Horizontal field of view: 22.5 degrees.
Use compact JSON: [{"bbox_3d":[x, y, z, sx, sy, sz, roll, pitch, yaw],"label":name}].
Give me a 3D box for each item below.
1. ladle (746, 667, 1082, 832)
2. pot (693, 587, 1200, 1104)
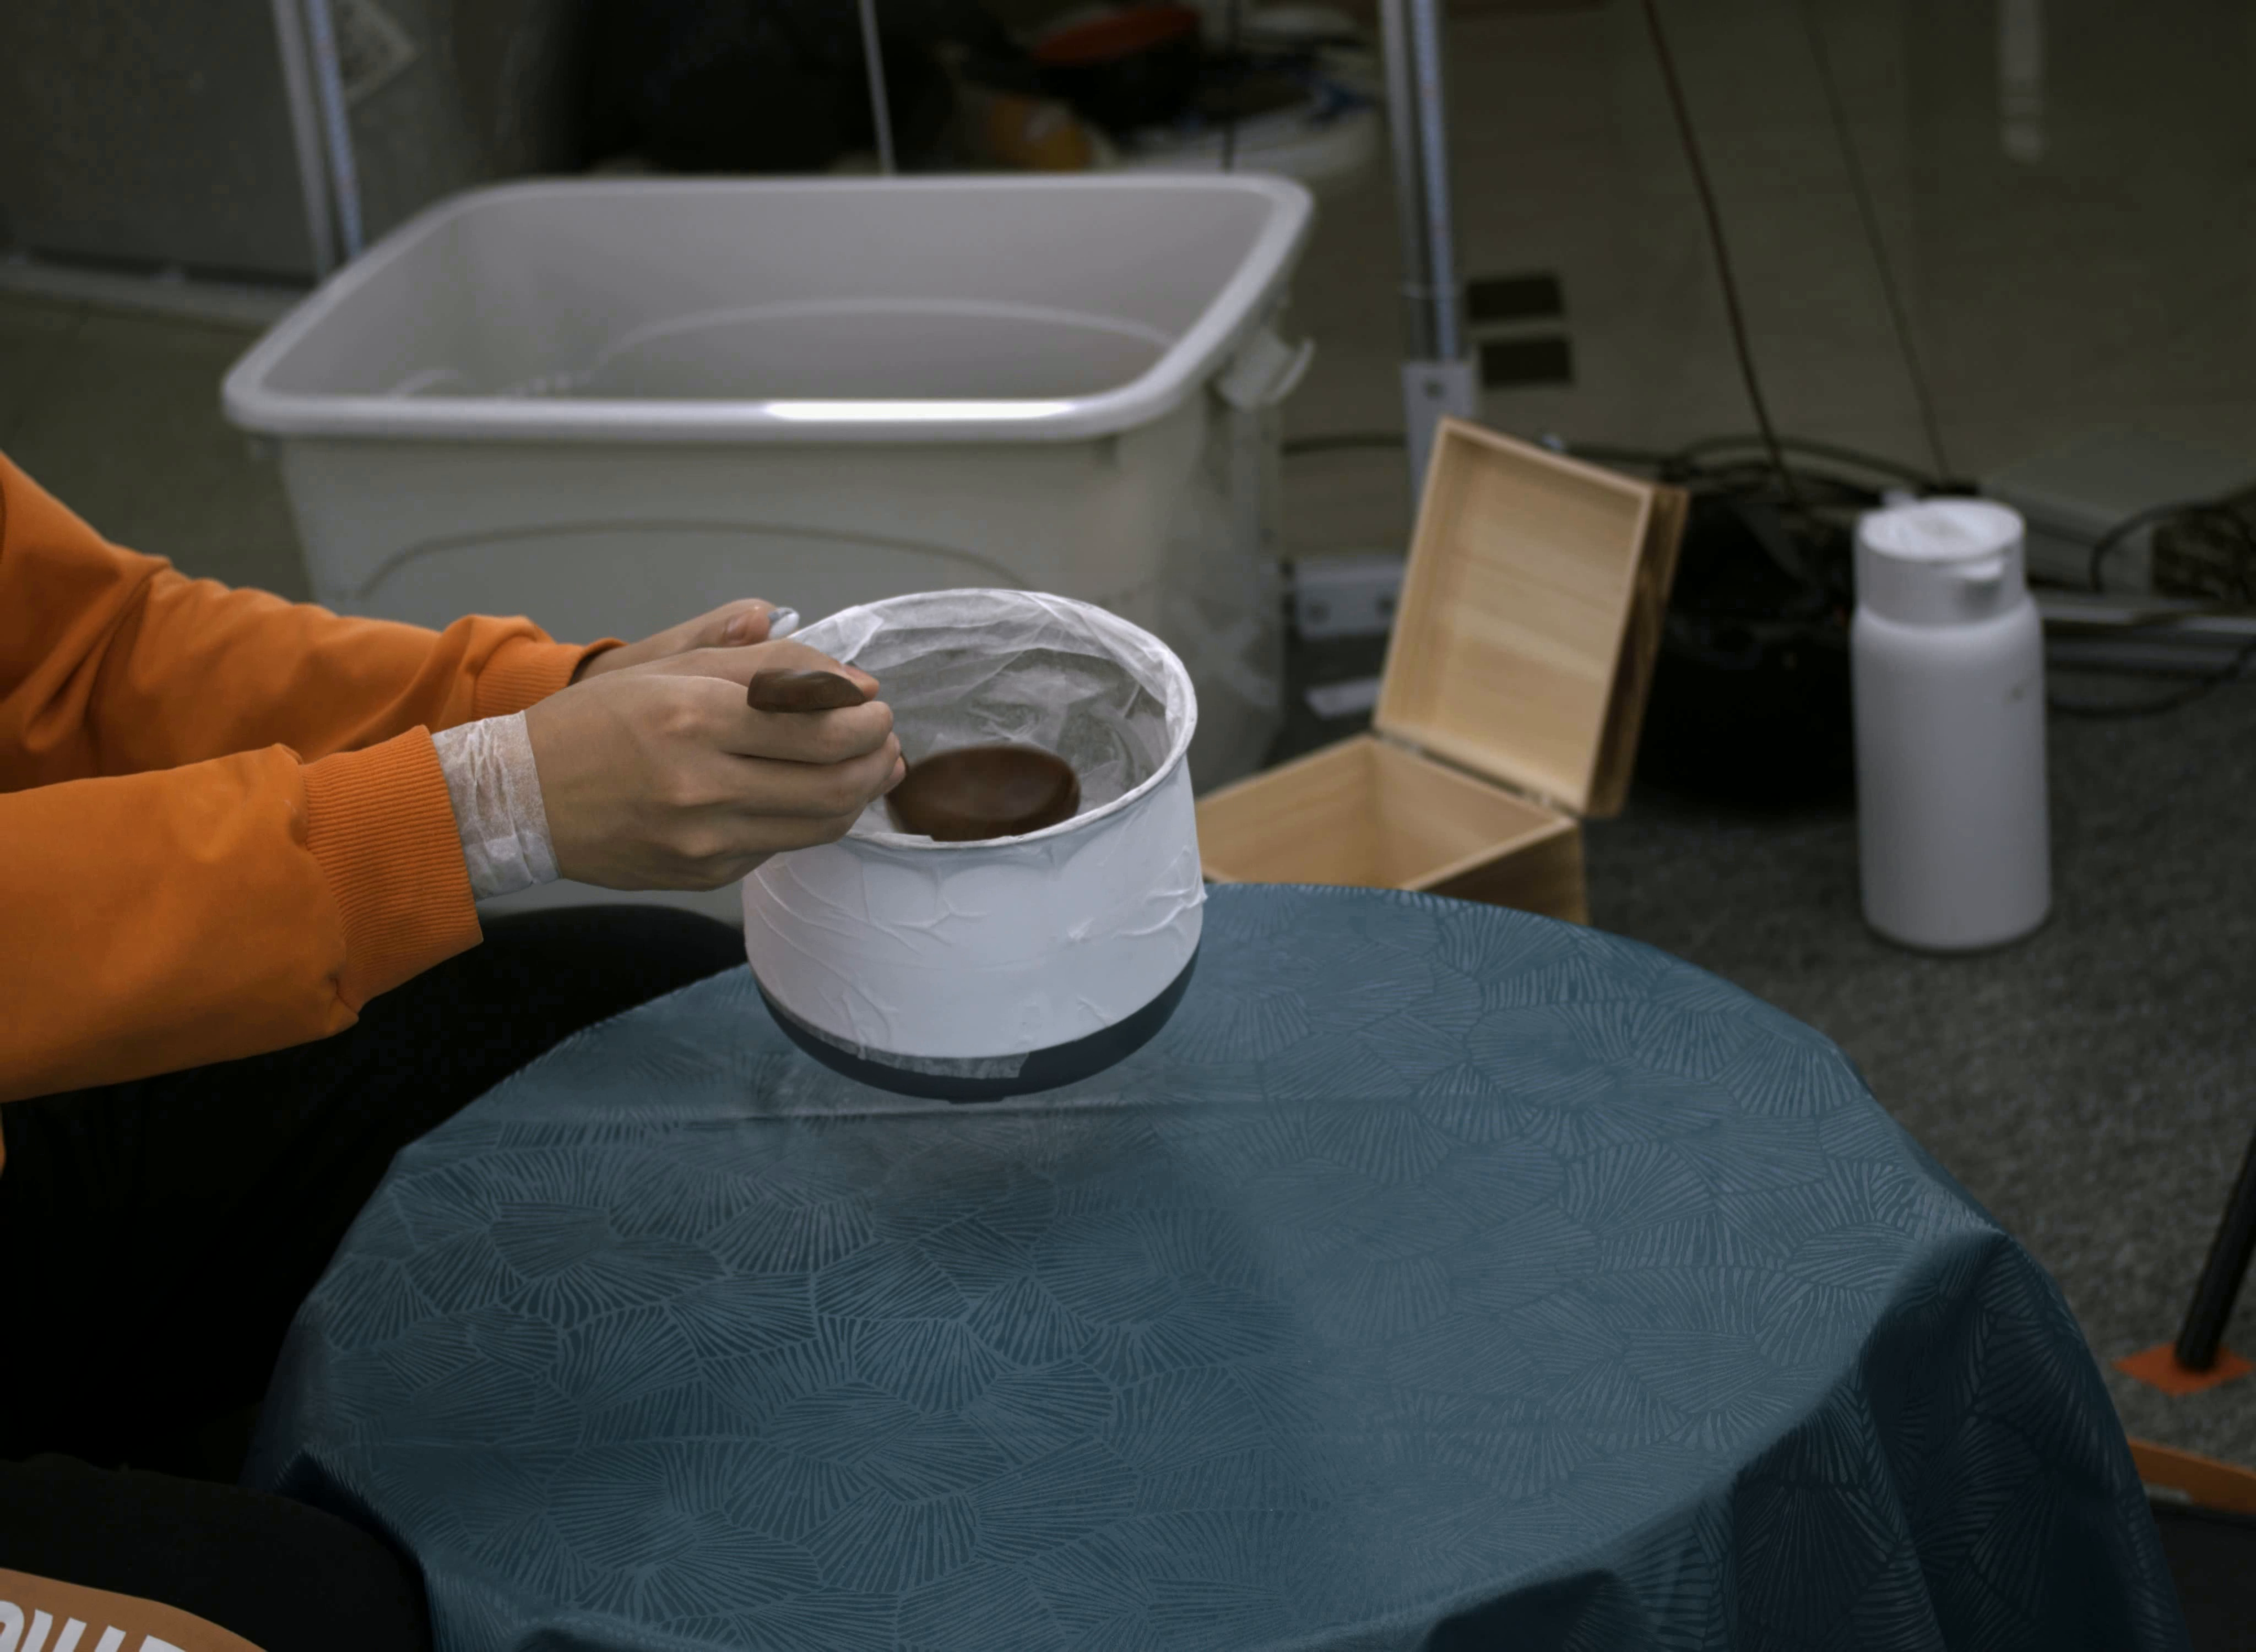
[{"bbox_3d":[-0.083,-0.035,2.058,0.076,0.064,0.263,3,-16,18],"label":"ladle"},{"bbox_3d":[-0.081,-0.001,2.172,0.231,0.139,0.177,27,44,34],"label":"pot"}]
